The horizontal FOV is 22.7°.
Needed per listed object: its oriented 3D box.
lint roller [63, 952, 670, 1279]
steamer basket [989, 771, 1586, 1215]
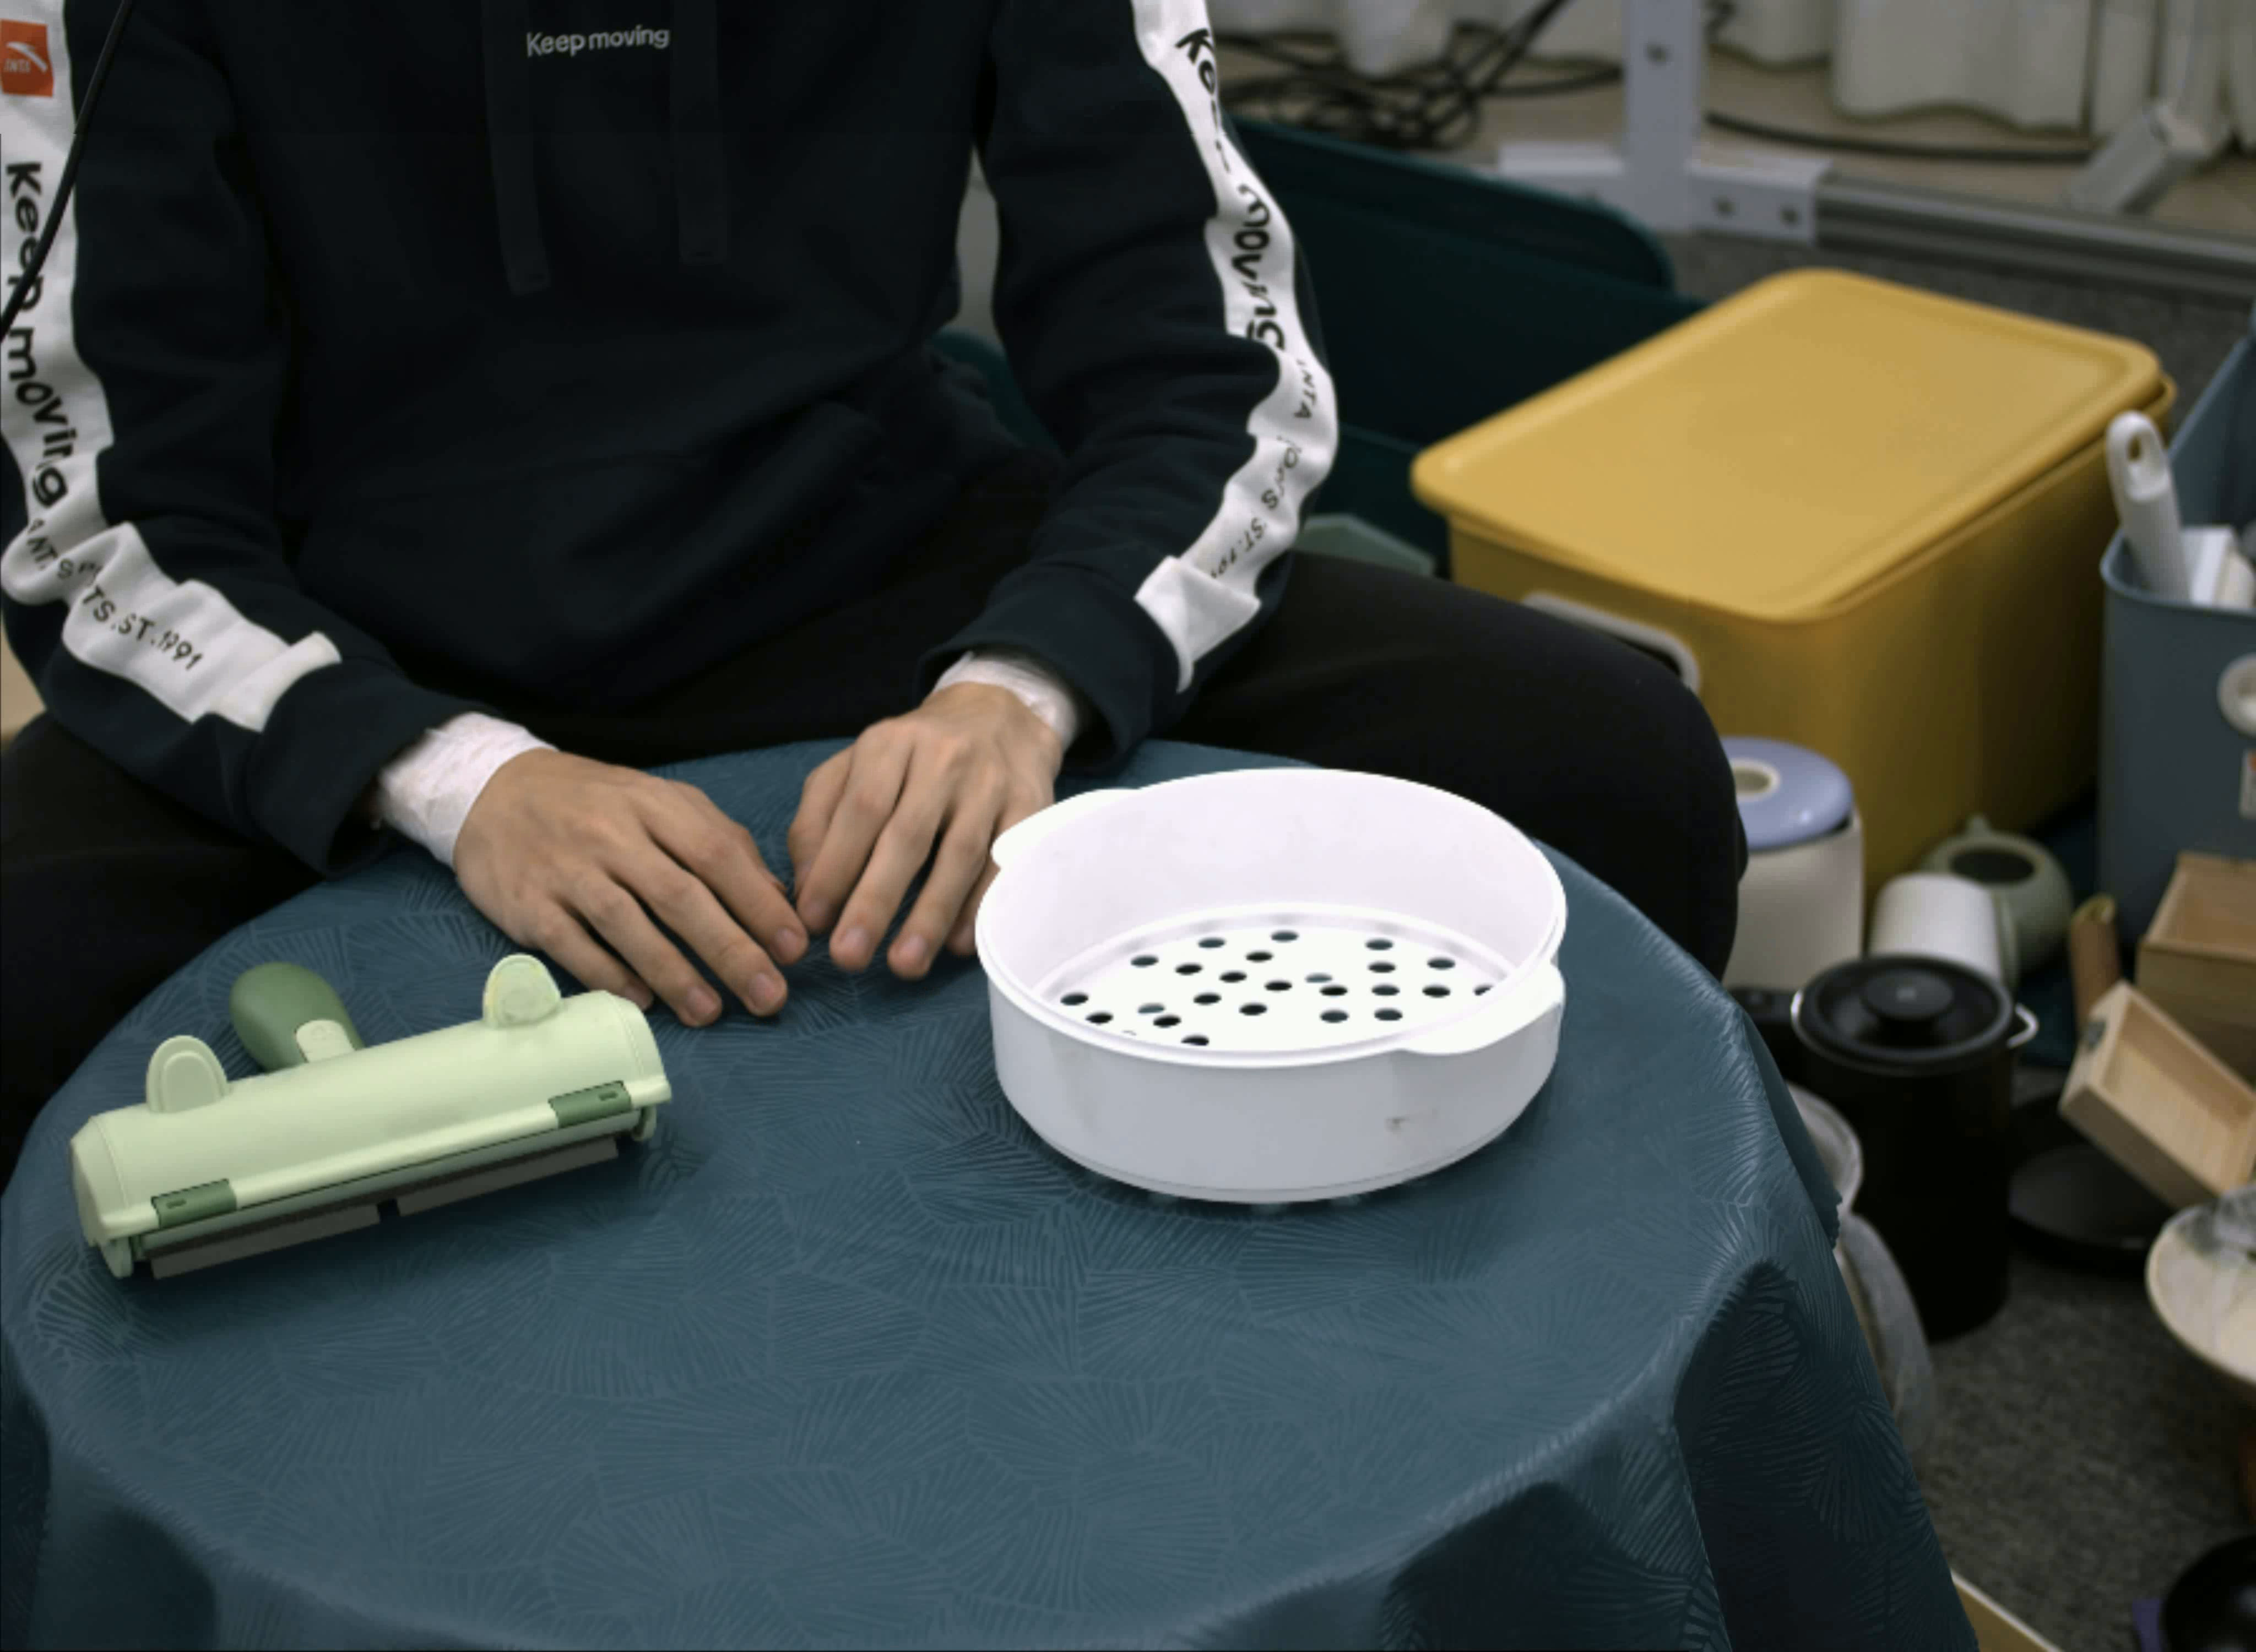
[{"bbox_3d":[-0.274,0.070,1.904,0.199,0.081,0.185,-14,33,-19],"label":"lint roller"},{"bbox_3d":[0.054,0.057,1.906,0.230,0.068,0.204,24,38,39],"label":"steamer basket"}]
